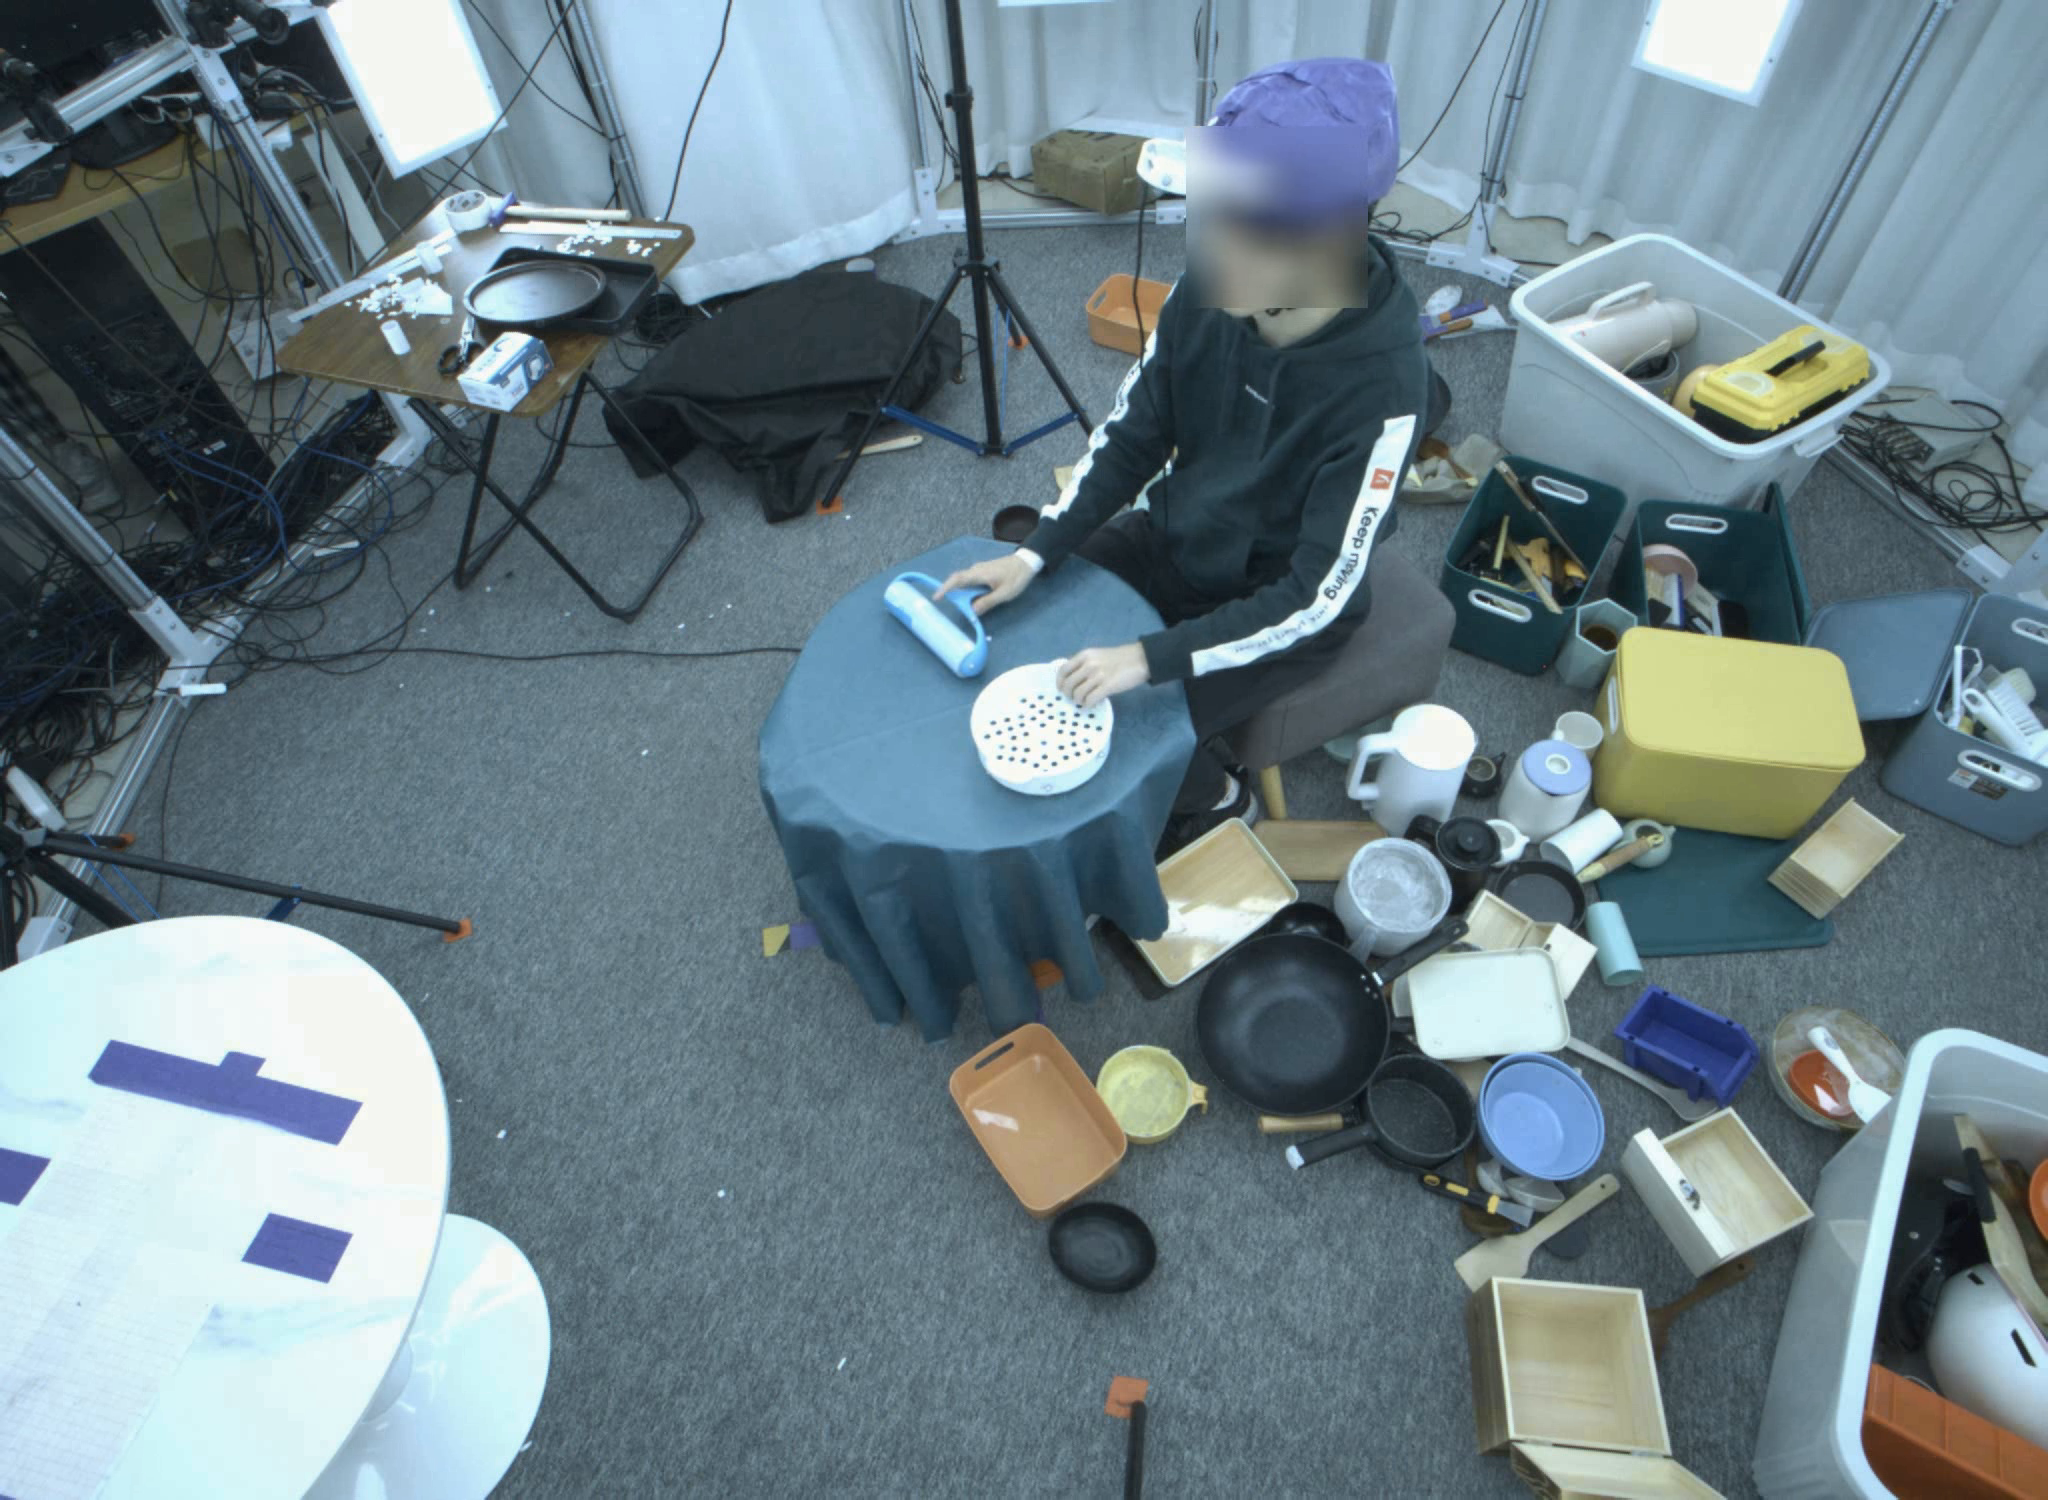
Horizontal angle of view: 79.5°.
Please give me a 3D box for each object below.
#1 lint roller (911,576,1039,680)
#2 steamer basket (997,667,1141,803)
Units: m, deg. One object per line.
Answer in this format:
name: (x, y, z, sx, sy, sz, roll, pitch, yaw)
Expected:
lint roller: (-0.053, -0.217, 1.905, 0.181, 0.069, 0.224, -38, 60, -21)
steamer basket: (0.064, -0.018, 1.751, 0.199, 0.070, 0.231, 24, 58, 17)
